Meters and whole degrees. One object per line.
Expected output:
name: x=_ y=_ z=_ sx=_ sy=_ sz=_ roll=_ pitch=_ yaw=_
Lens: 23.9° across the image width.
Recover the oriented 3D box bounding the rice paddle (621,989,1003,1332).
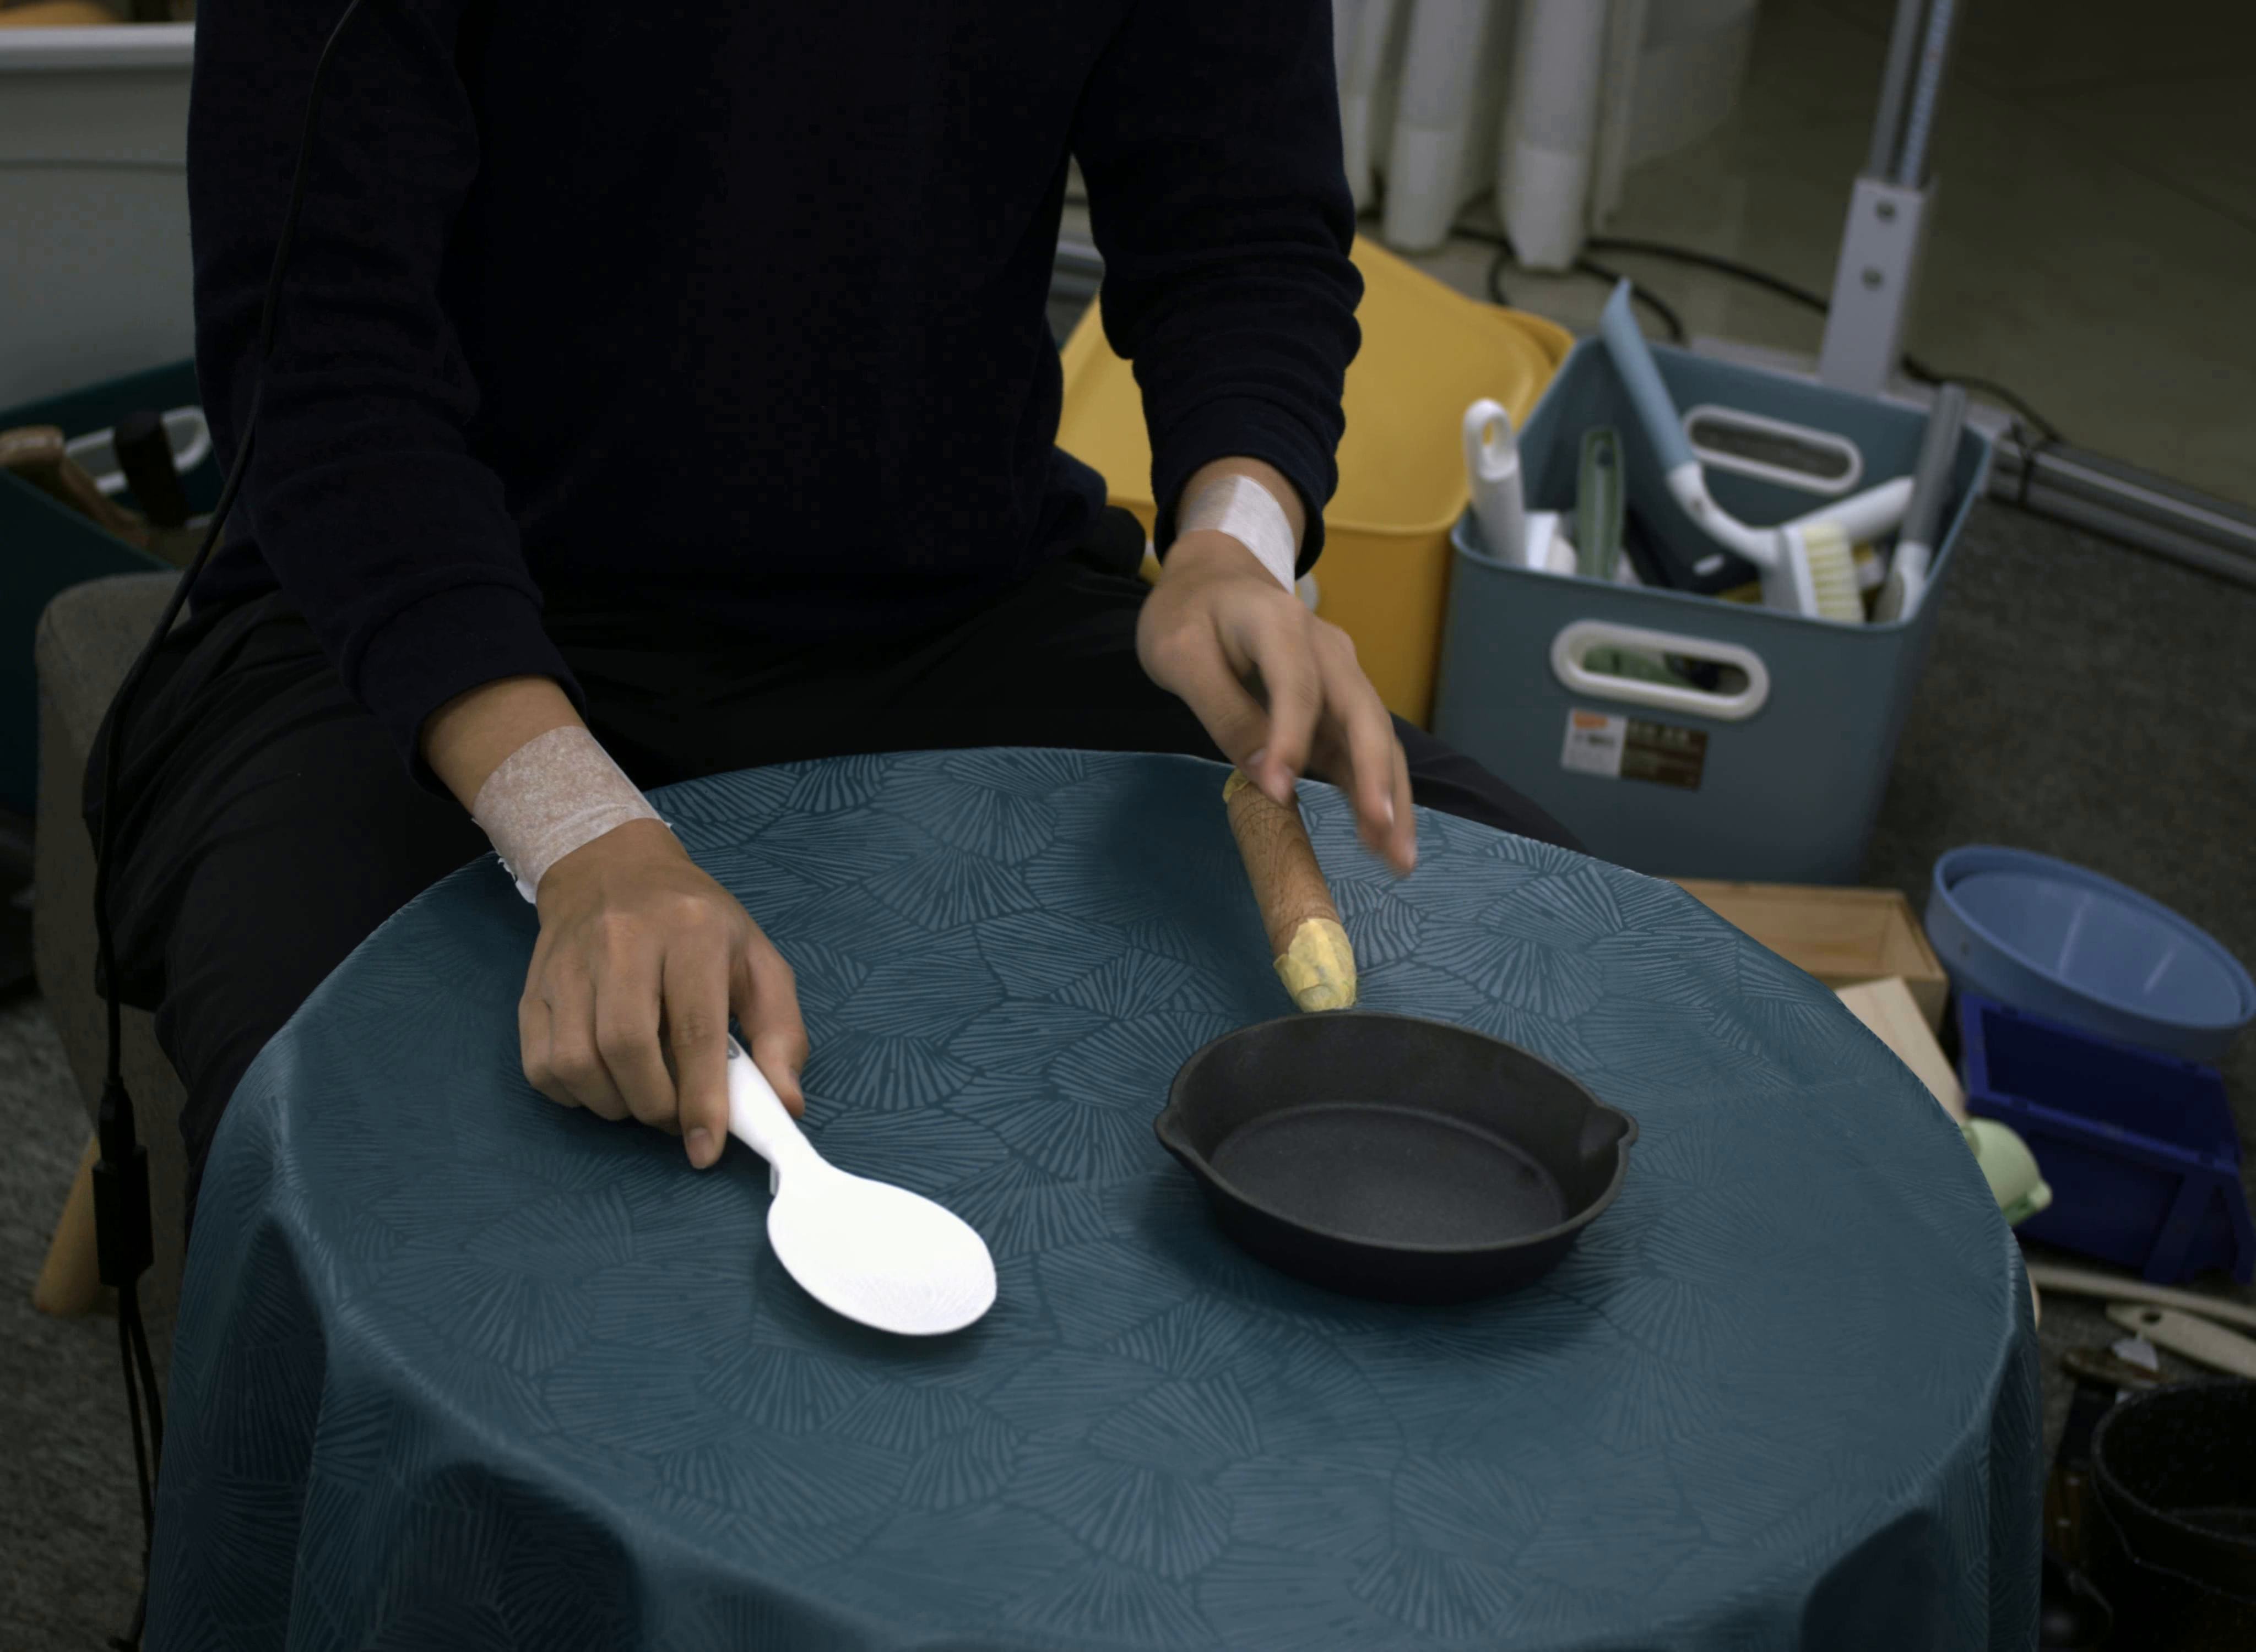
rice paddle: x=-0.108 y=0.113 z=1.768 sx=0.068 sy=0.029 sz=0.207 roll=-12 pitch=32 yaw=-29

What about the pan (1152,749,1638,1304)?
pan: x=0.076 y=0.068 z=1.873 sx=0.168 sy=0.049 sz=0.327 roll=1 pitch=29 yaw=-11
